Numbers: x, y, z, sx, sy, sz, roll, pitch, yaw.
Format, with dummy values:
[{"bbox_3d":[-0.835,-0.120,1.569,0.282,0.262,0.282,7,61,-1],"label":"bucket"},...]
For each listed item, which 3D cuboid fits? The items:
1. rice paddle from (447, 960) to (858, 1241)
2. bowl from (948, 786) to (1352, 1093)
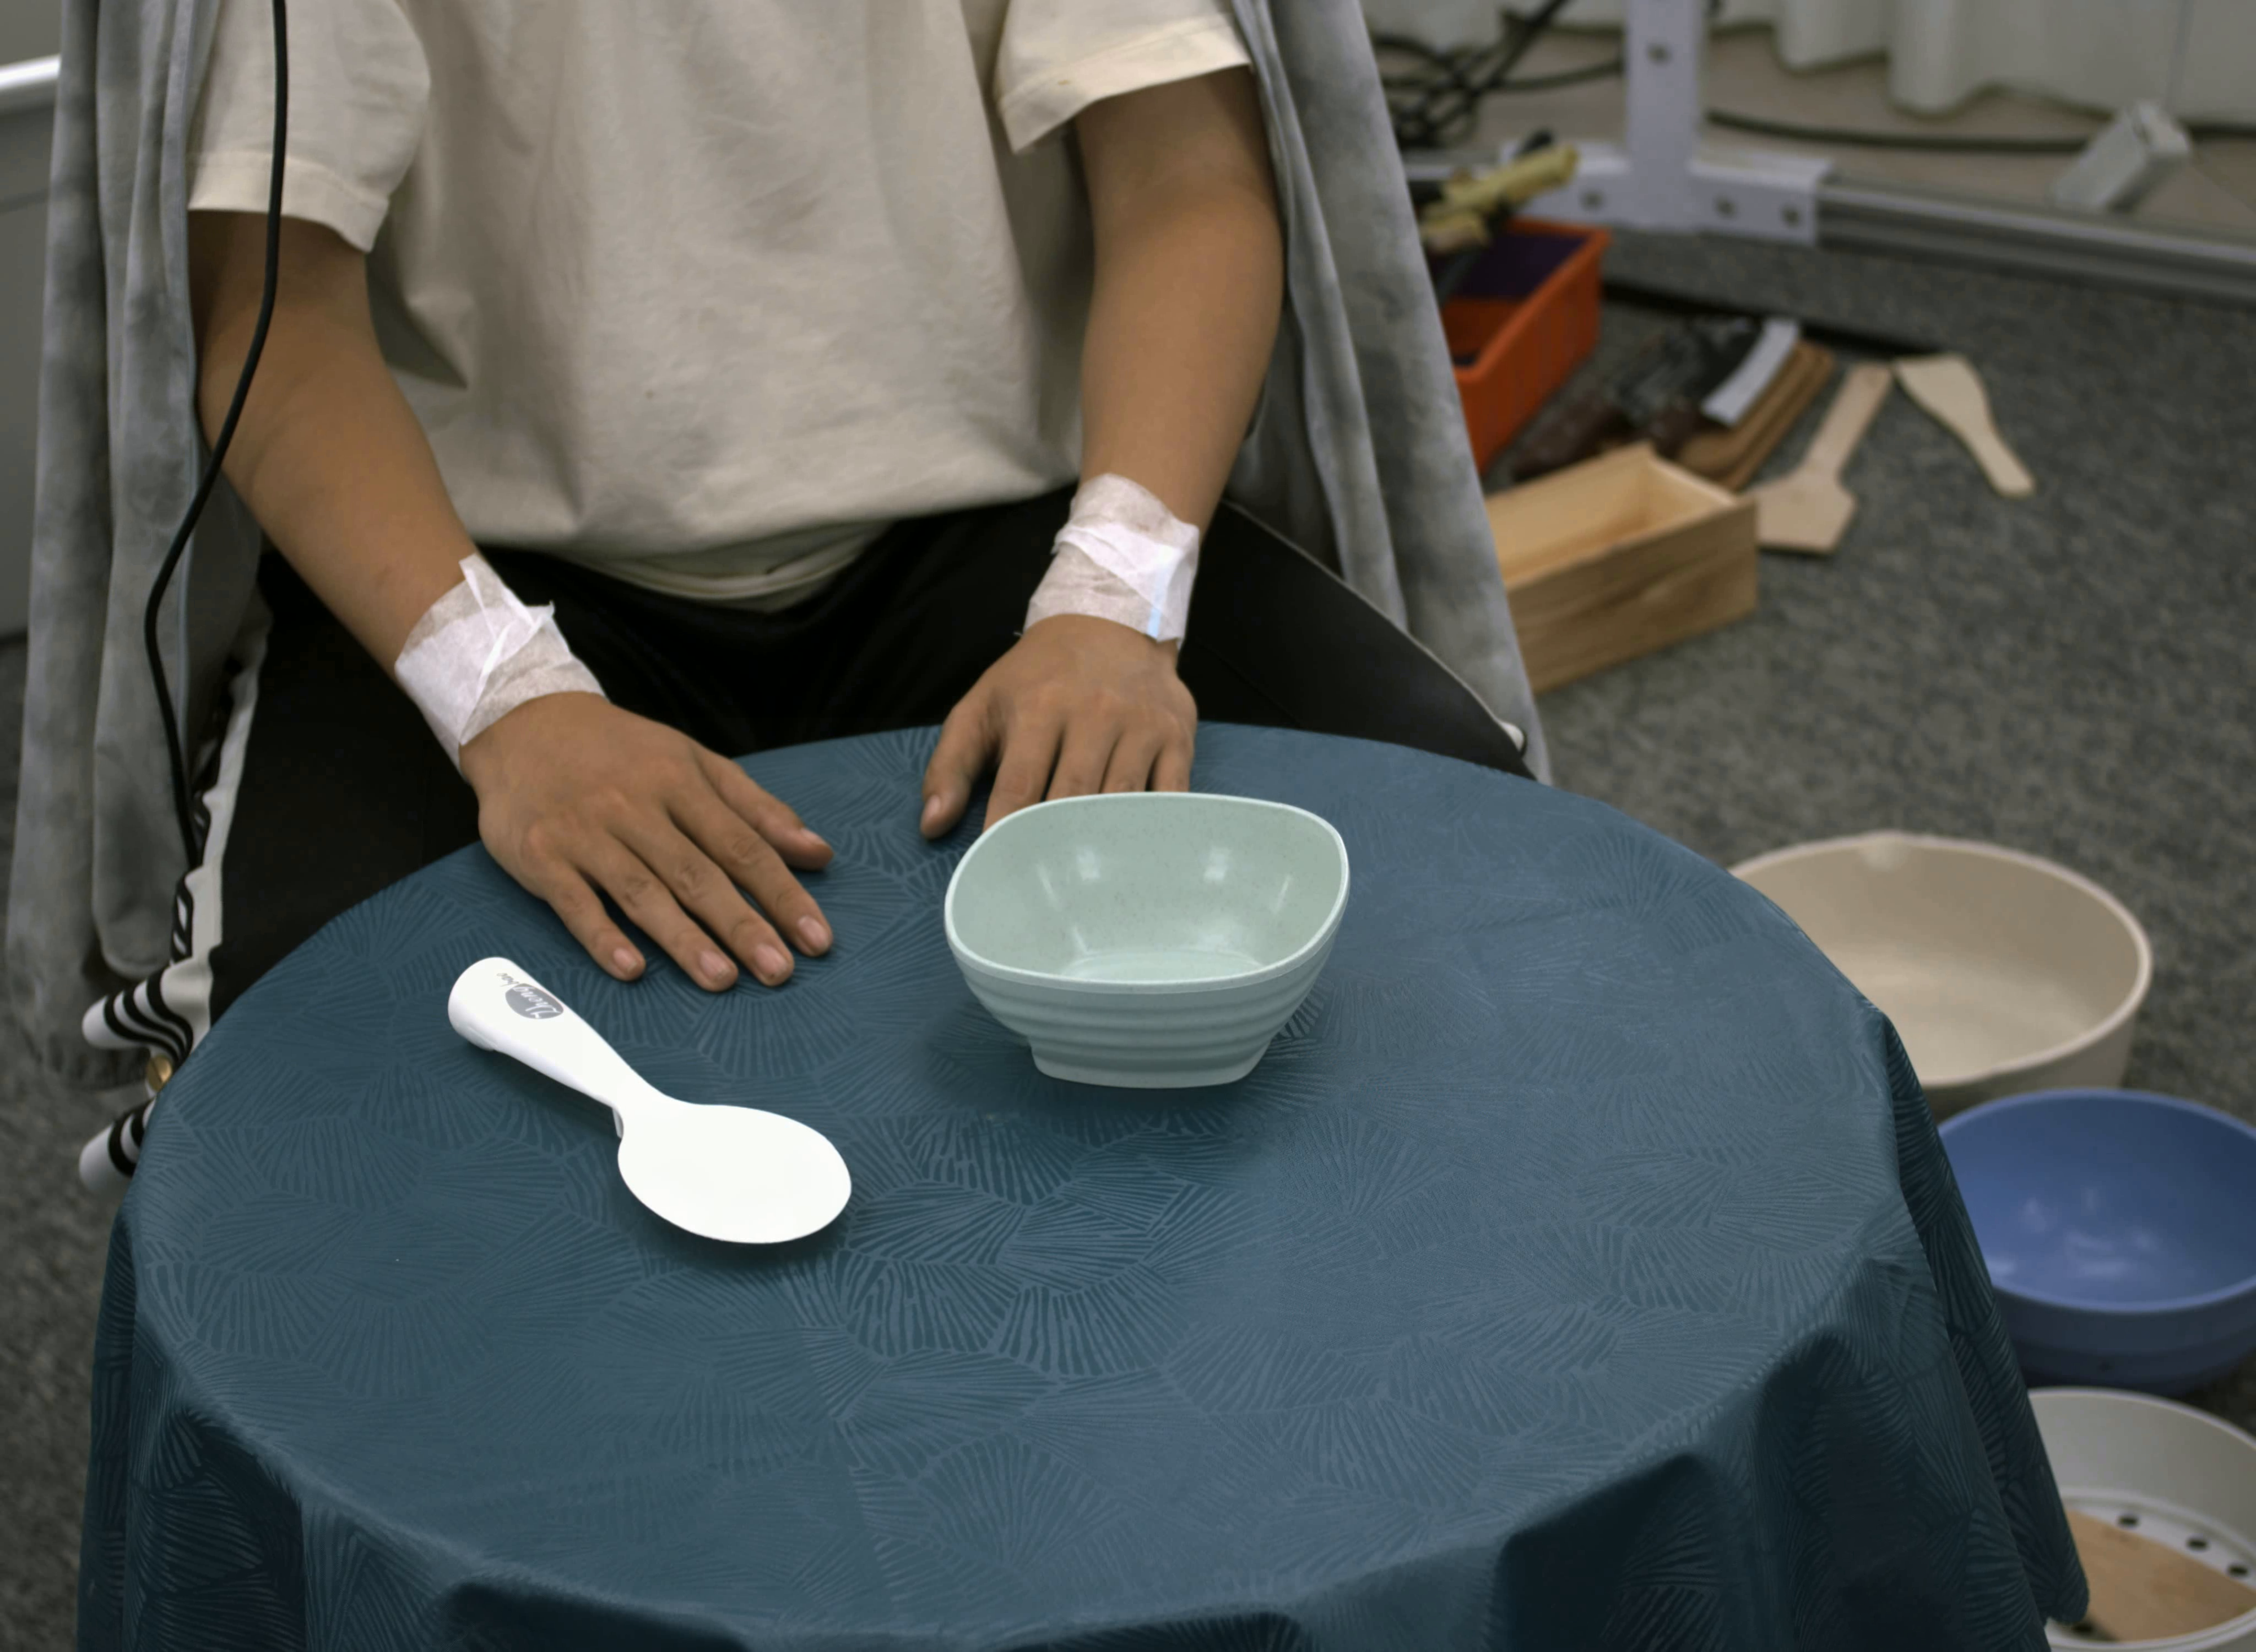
[{"bbox_3d":[-0.163,0.094,1.897,0.069,0.029,0.205,-23,33,-31],"label":"rice paddle"},{"bbox_3d":[0.010,0.045,1.946,0.150,0.058,0.154,-3,29,2],"label":"bowl"}]
